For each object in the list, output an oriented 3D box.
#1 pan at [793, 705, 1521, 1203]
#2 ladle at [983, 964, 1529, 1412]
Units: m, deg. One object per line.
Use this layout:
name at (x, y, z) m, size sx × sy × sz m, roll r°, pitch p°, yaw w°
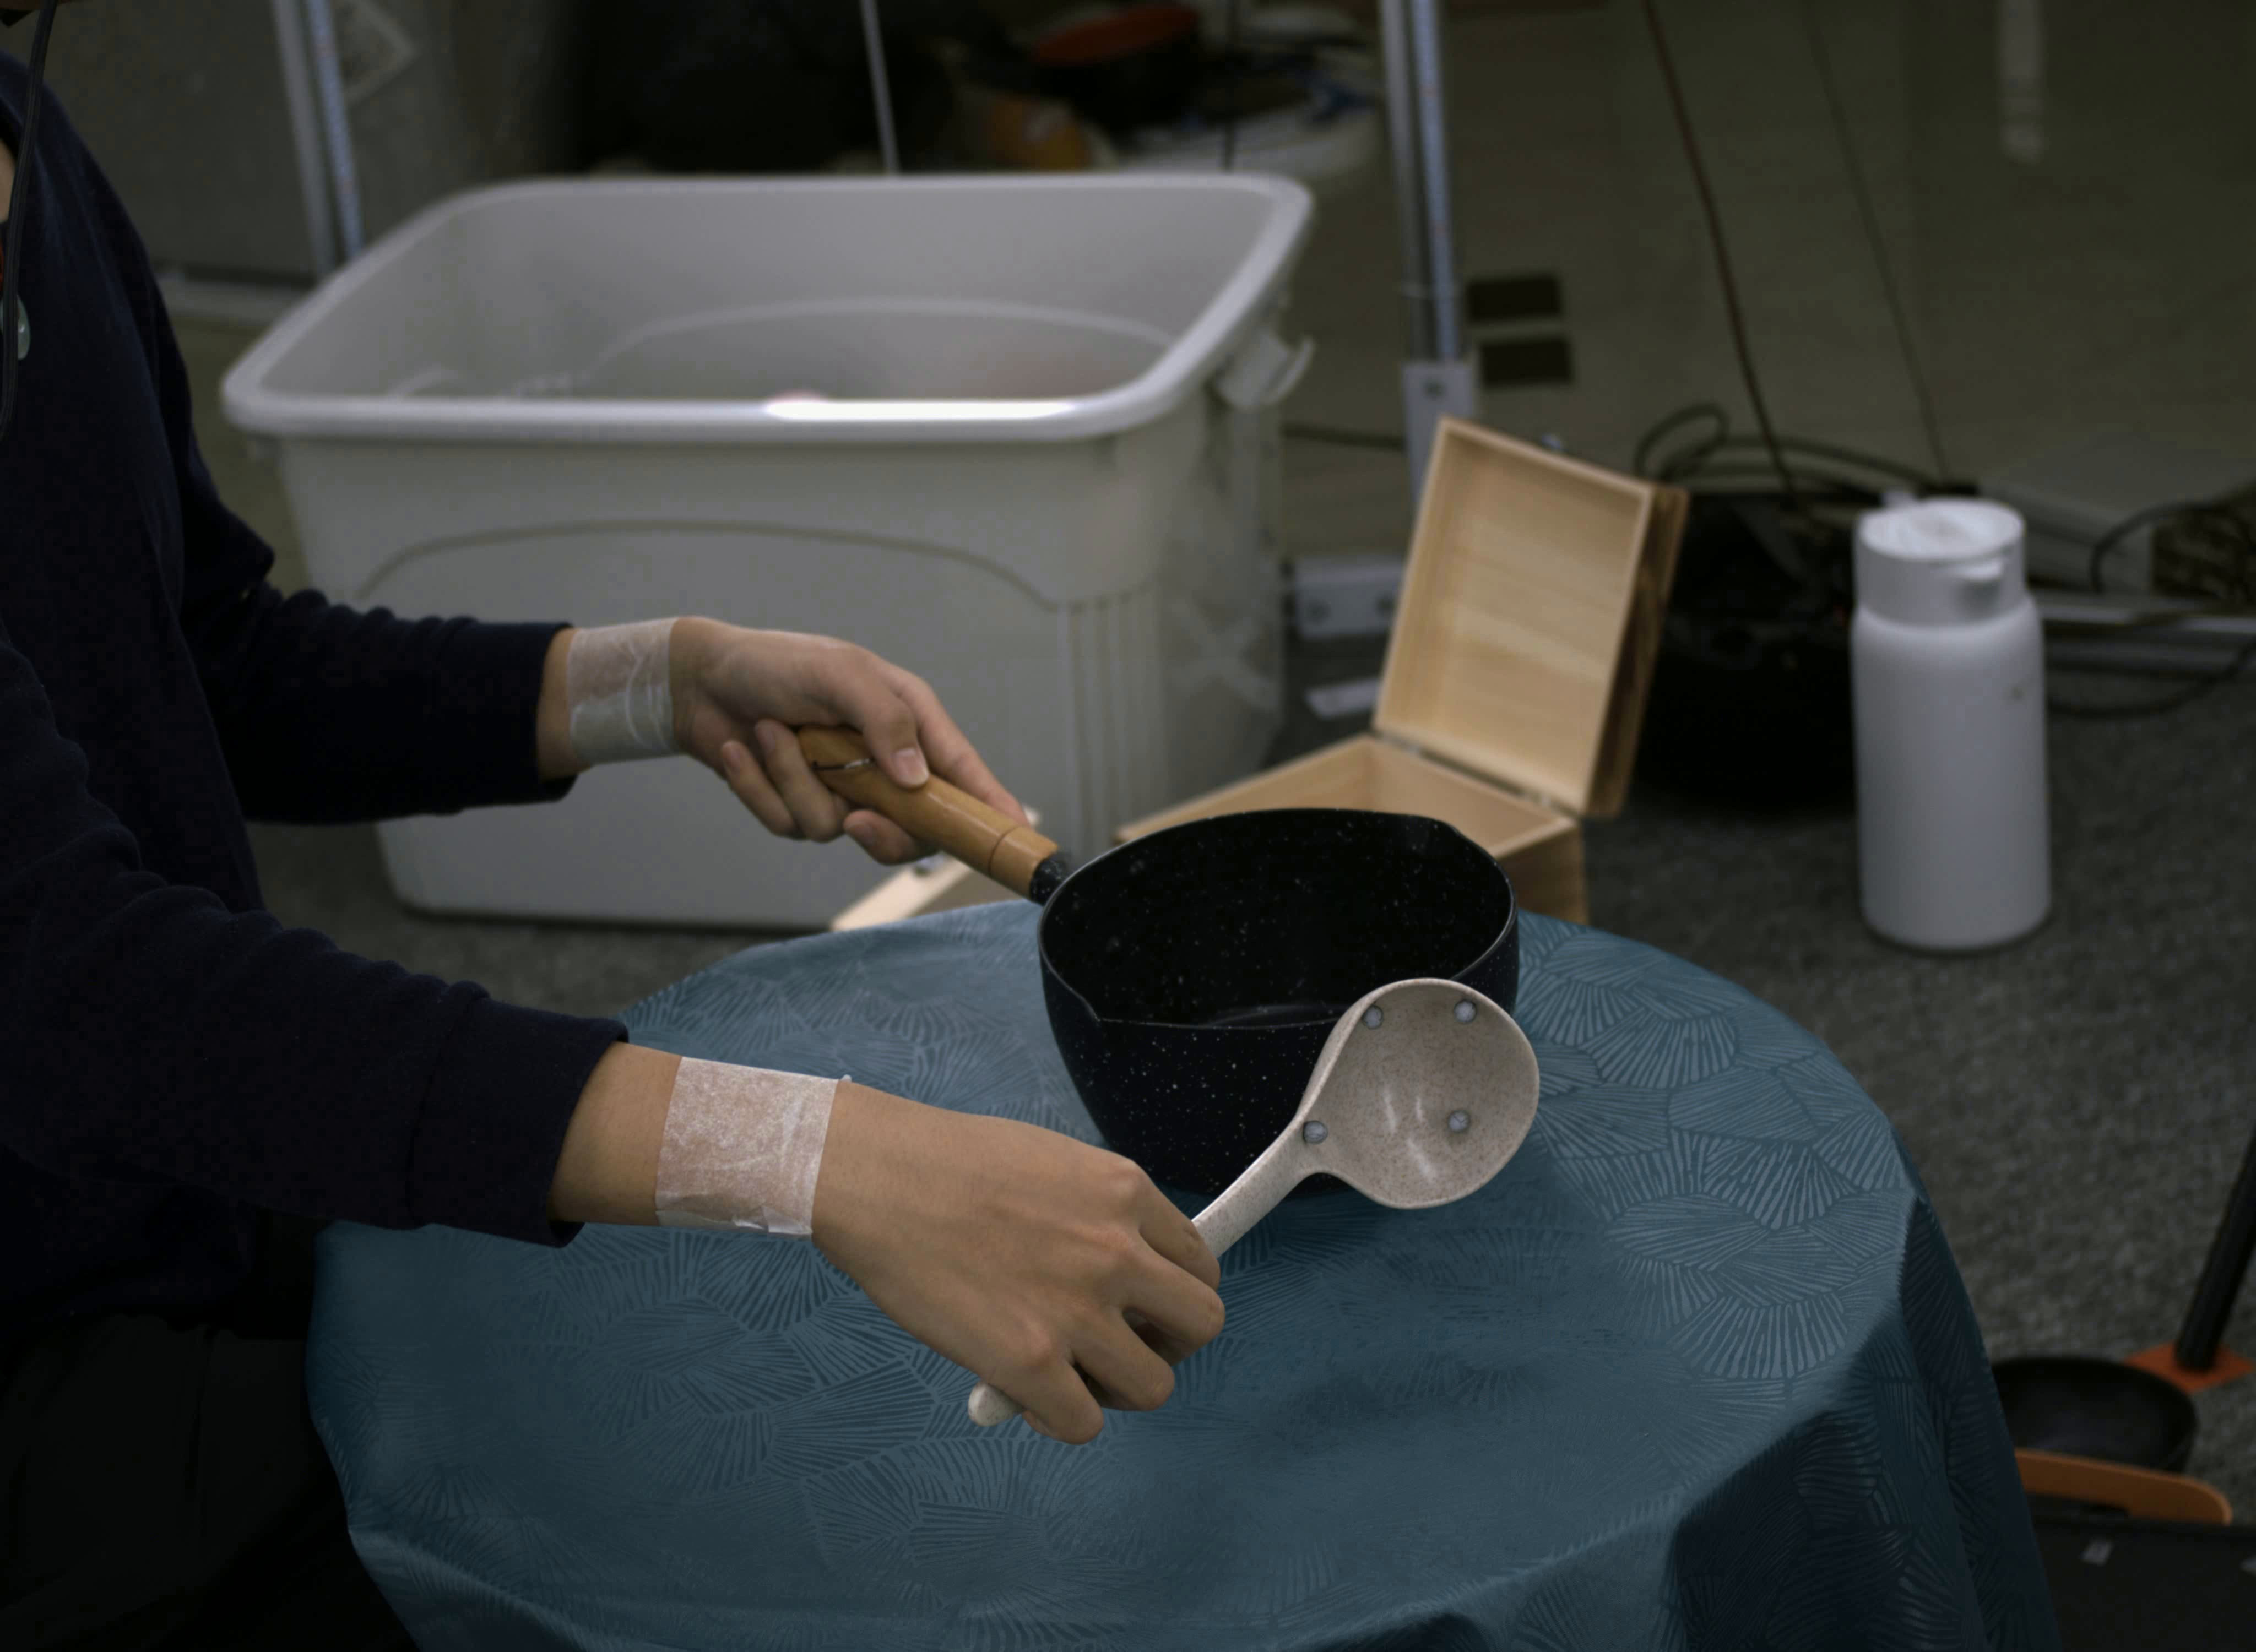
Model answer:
pan at (-0.001, 0.042, 2.216) m, size 0.340 × 0.110 × 0.205 m, roll 18°, pitch 36°, yaw 36°
ladle at (0.047, 0.130, 1.896) m, size 0.069 × 0.090 × 0.272 m, roll 2°, pitch 23°, yaw 30°
